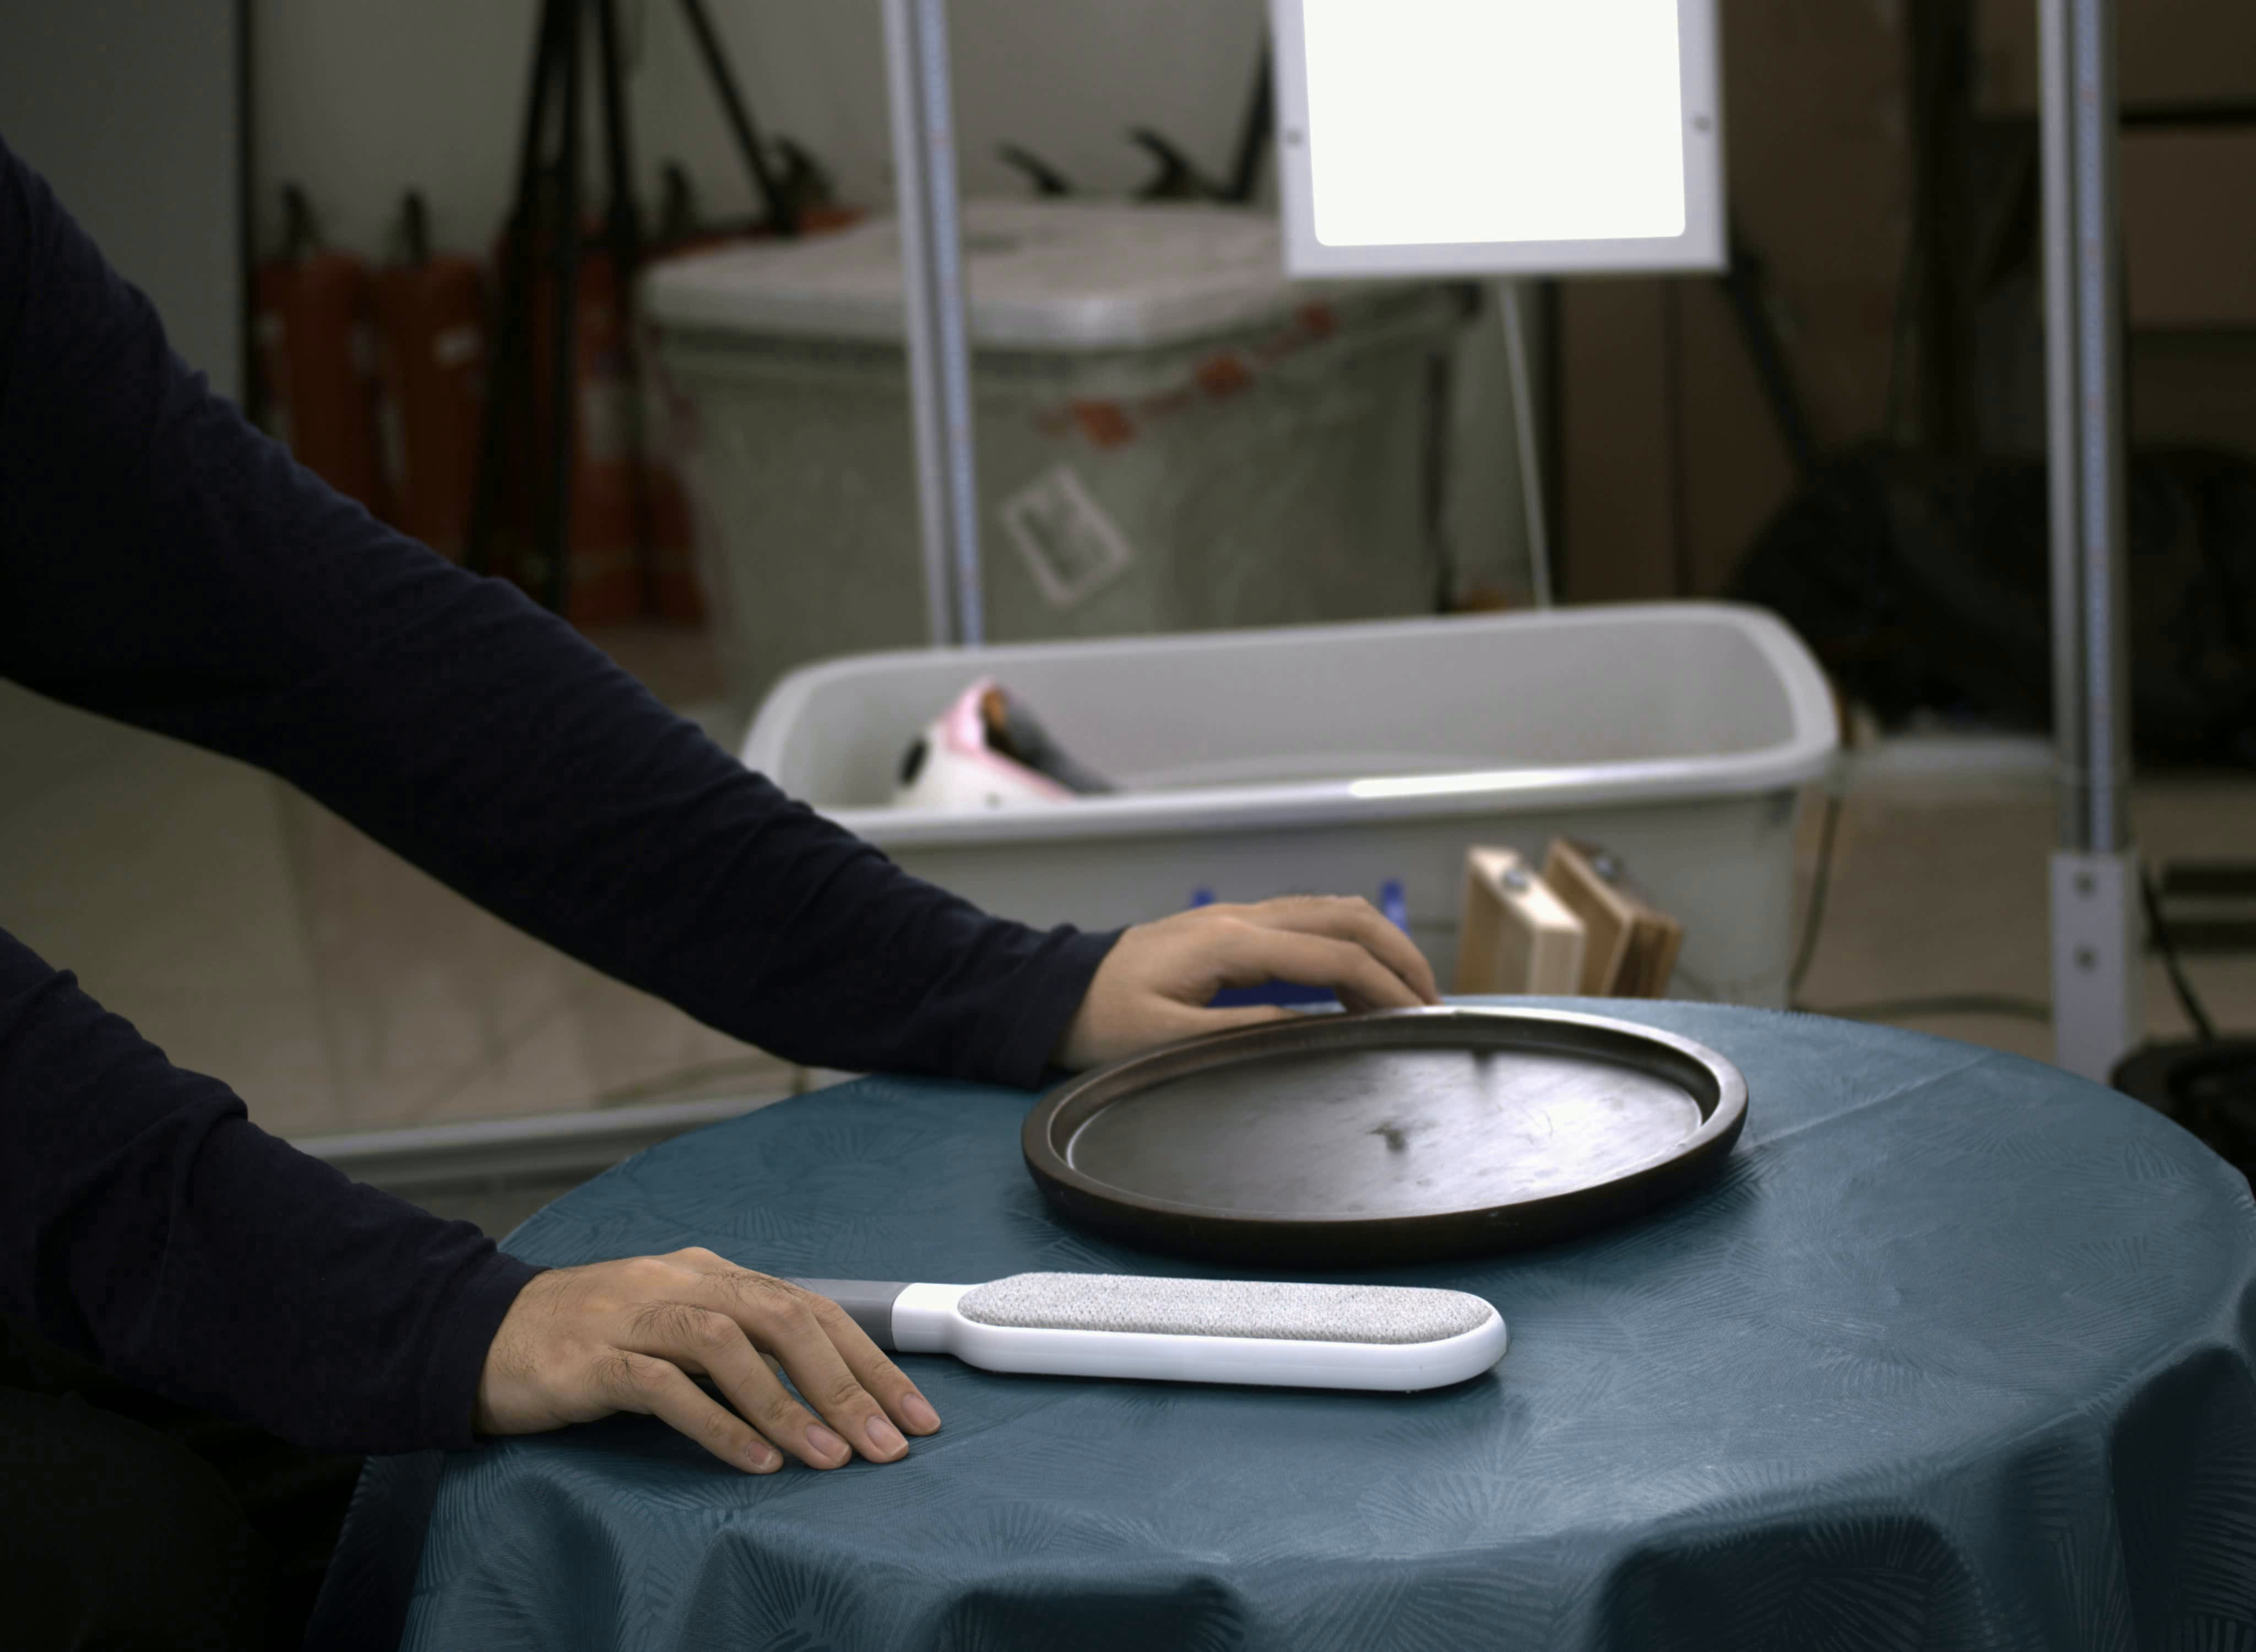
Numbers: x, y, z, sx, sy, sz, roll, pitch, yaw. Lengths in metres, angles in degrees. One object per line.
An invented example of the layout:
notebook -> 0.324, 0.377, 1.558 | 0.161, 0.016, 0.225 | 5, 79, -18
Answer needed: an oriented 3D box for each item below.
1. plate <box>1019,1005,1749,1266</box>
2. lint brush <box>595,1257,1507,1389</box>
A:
plate -> 0.089, 0.105, 1.905 | 0.254, 0.029, 0.254 | -4, 12, 0
lint brush -> -0.029, 0.154, 1.745 | 0.313, 0.021, 0.059 | 1, 20, 24
